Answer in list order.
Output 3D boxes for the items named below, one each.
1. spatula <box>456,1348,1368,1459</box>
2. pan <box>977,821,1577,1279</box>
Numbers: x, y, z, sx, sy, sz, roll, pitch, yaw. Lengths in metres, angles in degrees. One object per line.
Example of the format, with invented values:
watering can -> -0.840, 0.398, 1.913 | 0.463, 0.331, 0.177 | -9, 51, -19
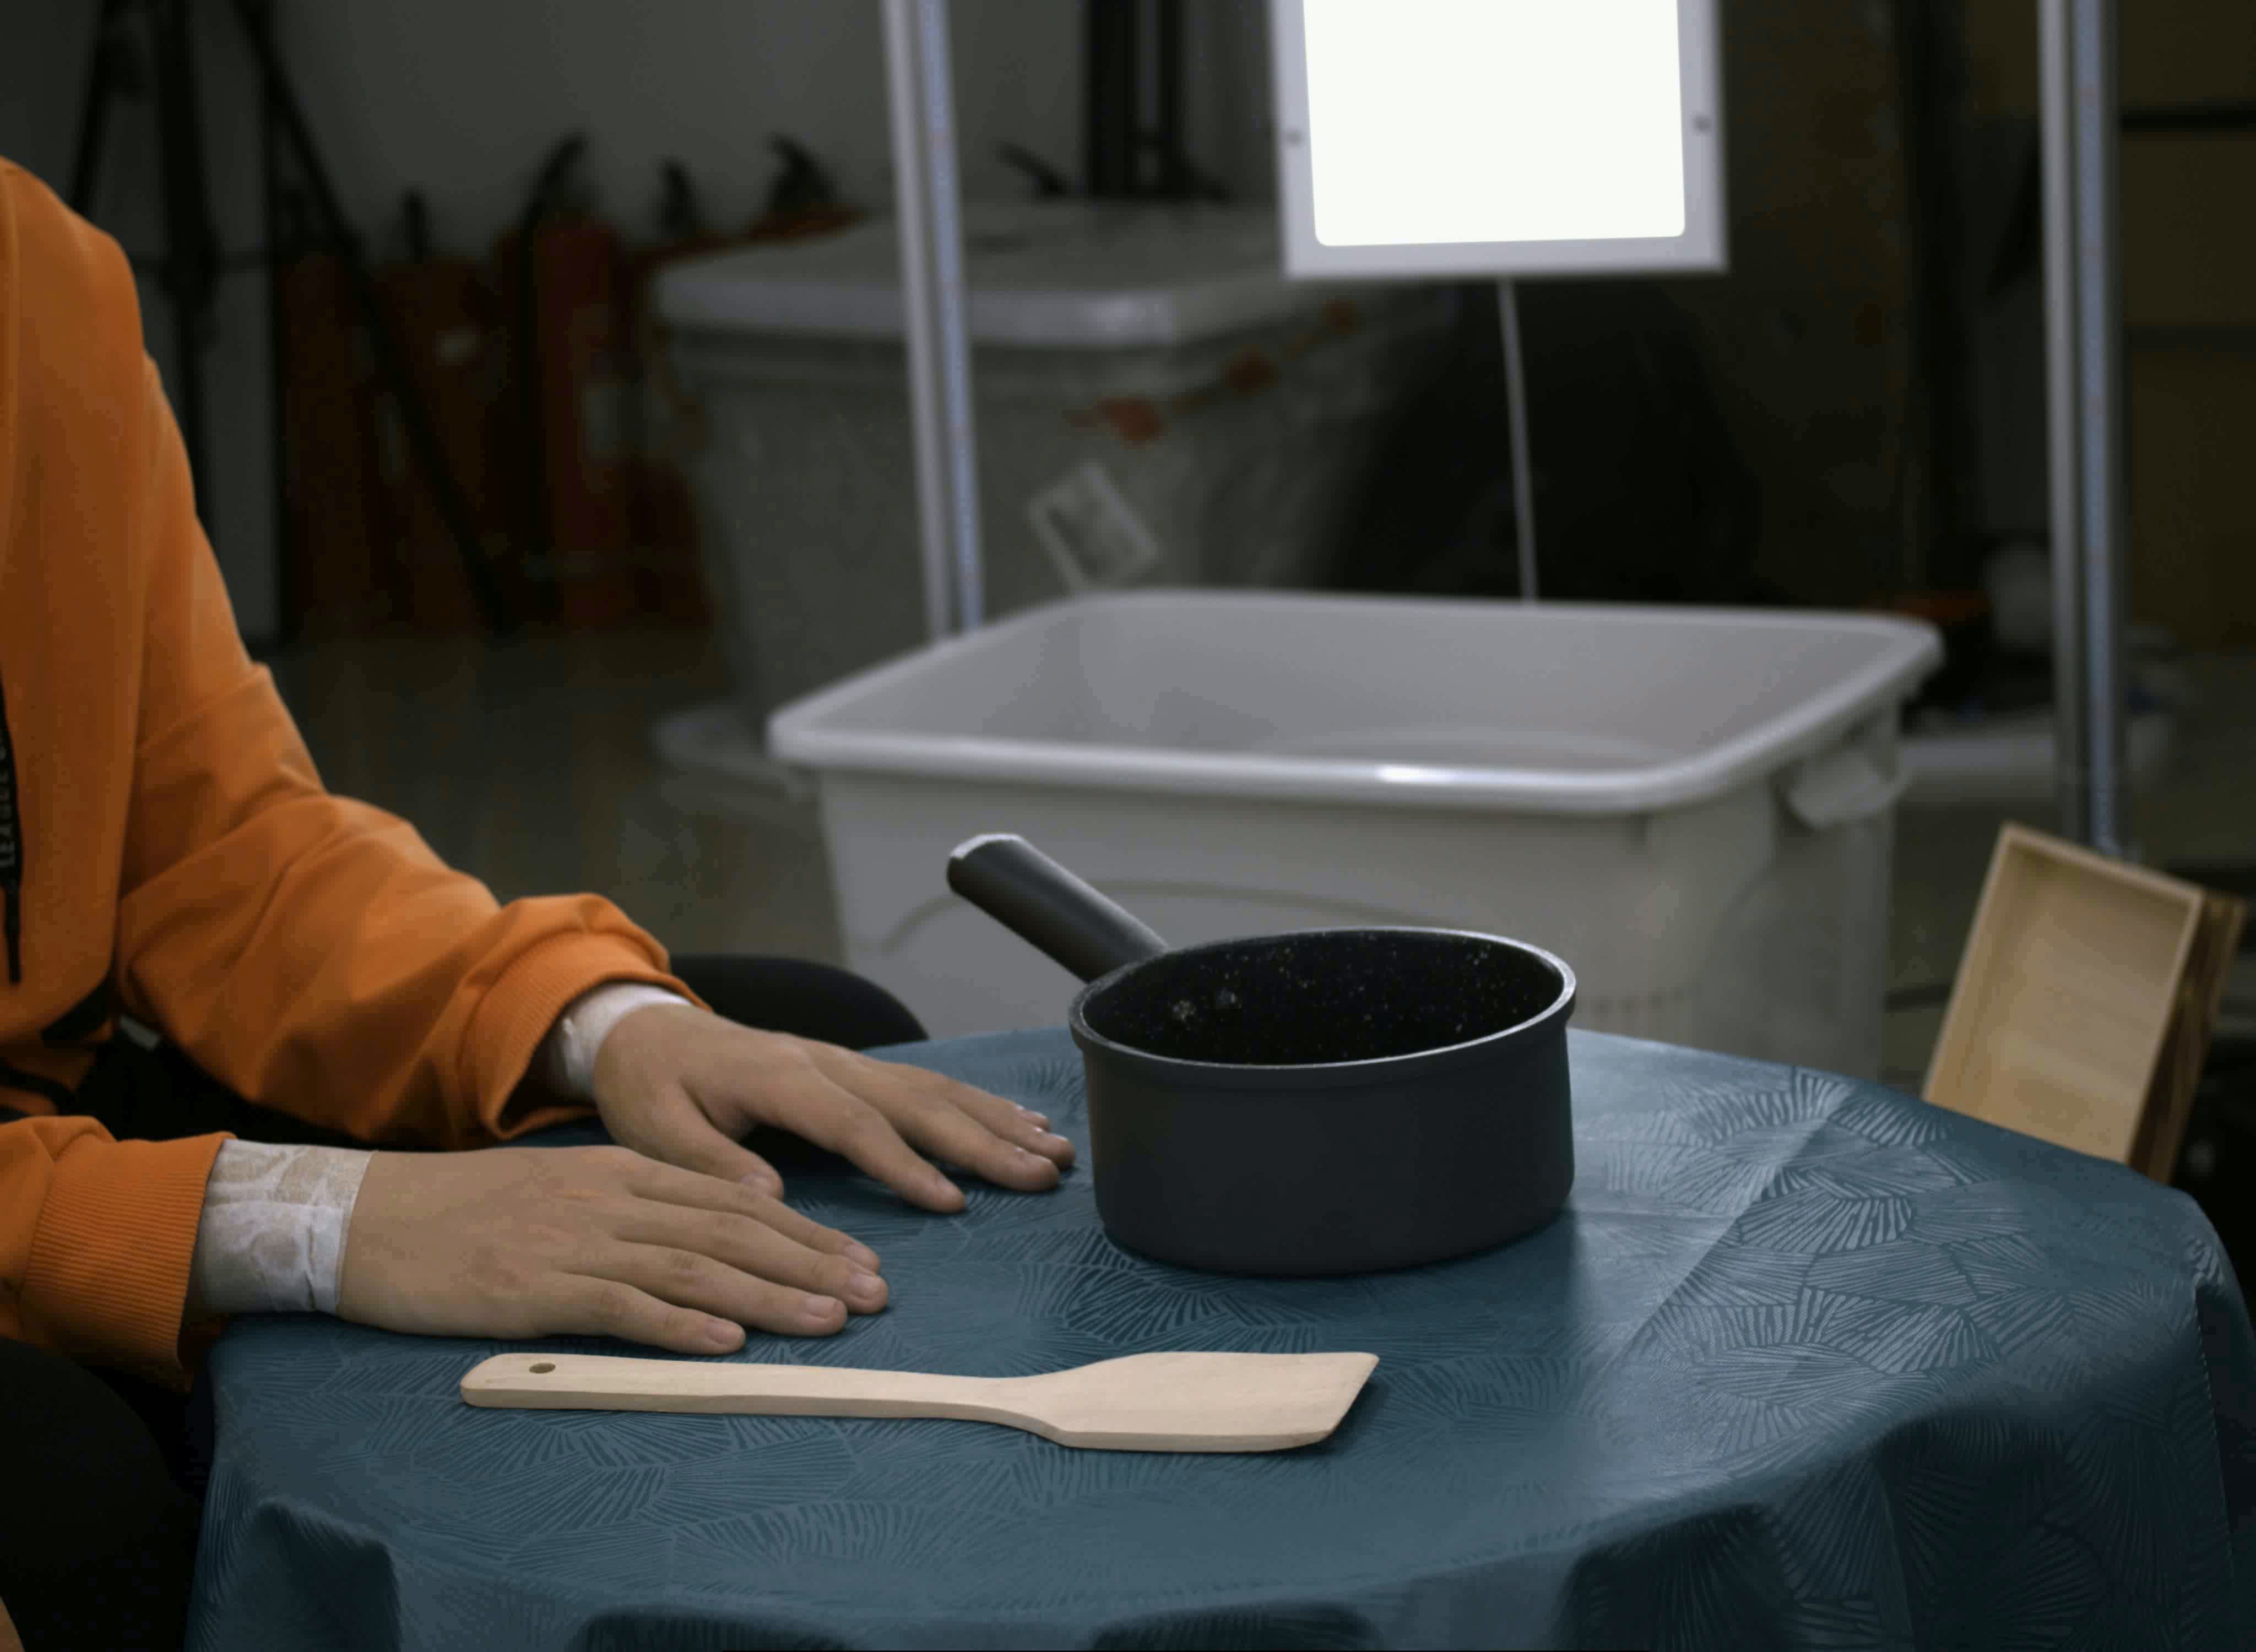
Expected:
spatula -> -0.073, 0.175, 1.707 | 0.297, 0.011, 0.071 | 0, 18, 19
pan -> 0.031, 0.074, 1.923 | 0.168, 0.087, 0.334 | -11, 16, -24
